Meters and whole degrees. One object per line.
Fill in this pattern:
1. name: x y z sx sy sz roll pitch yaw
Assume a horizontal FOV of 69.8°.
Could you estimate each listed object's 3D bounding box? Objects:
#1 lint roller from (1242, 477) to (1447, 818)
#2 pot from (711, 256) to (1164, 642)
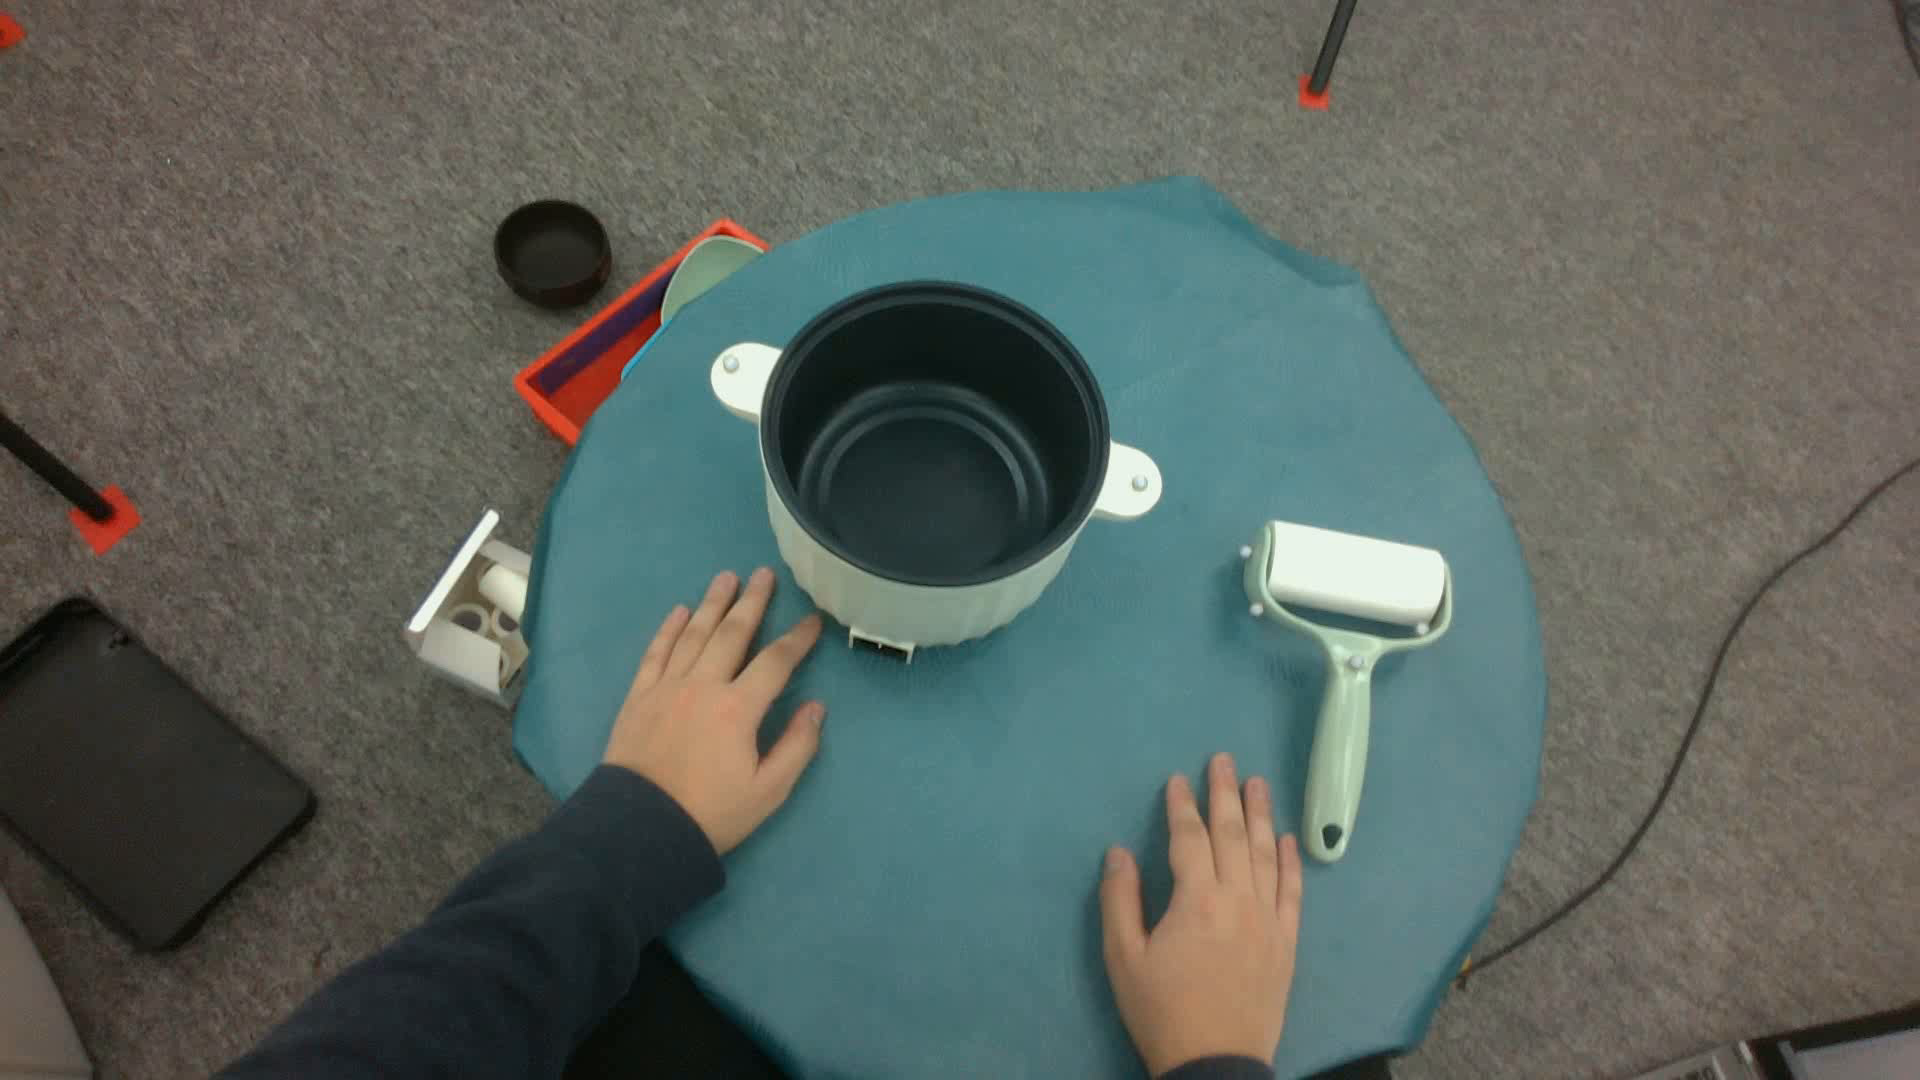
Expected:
1. lint roller: 0.220 0.060 0.799 0.116 0.048 0.198 9 69 -3
2. pot: -0.016 -0.051 0.775 0.240 0.142 0.191 13 70 -1
